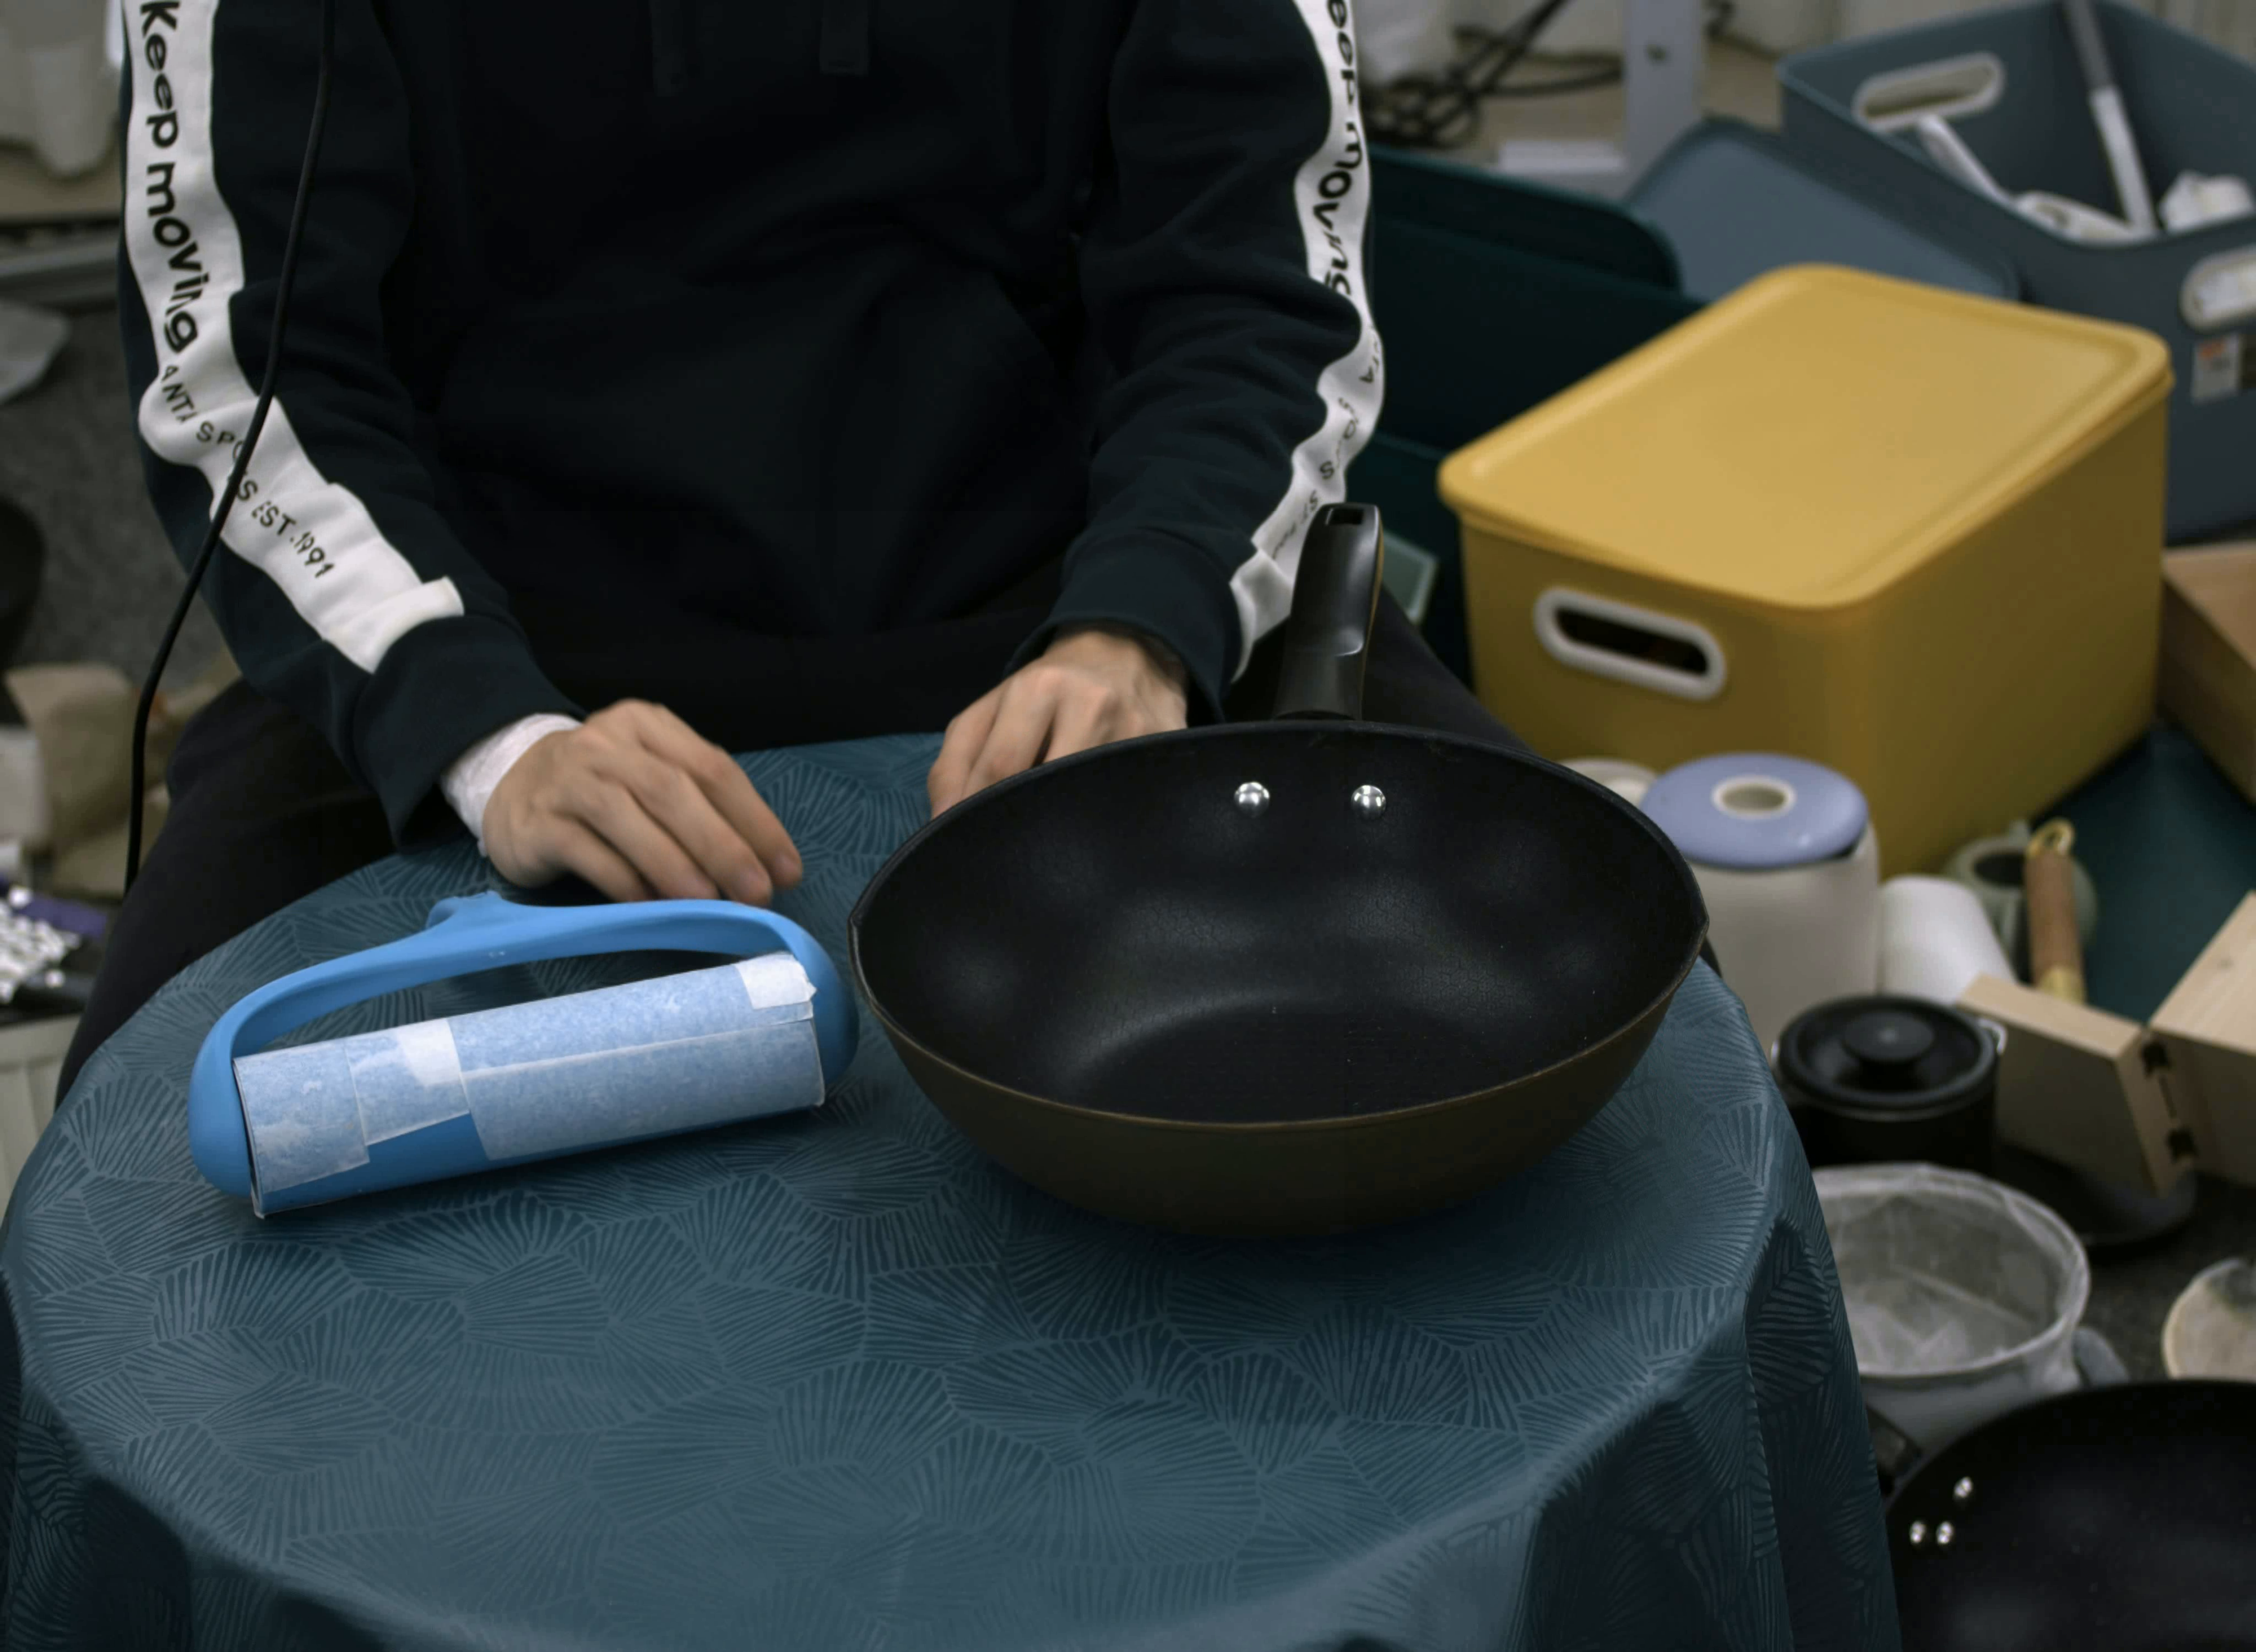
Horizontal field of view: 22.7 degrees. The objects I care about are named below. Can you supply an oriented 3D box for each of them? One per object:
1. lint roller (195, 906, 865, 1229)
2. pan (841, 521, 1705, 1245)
[{"bbox_3d":[-0.219,0.063,1.935,0.229,0.067,0.182,-14,29,-16],"label":"lint roller"},{"bbox_3d":[0.059,0.021,1.960,0.286,0.086,0.471,1,27,7],"label":"pan"}]
